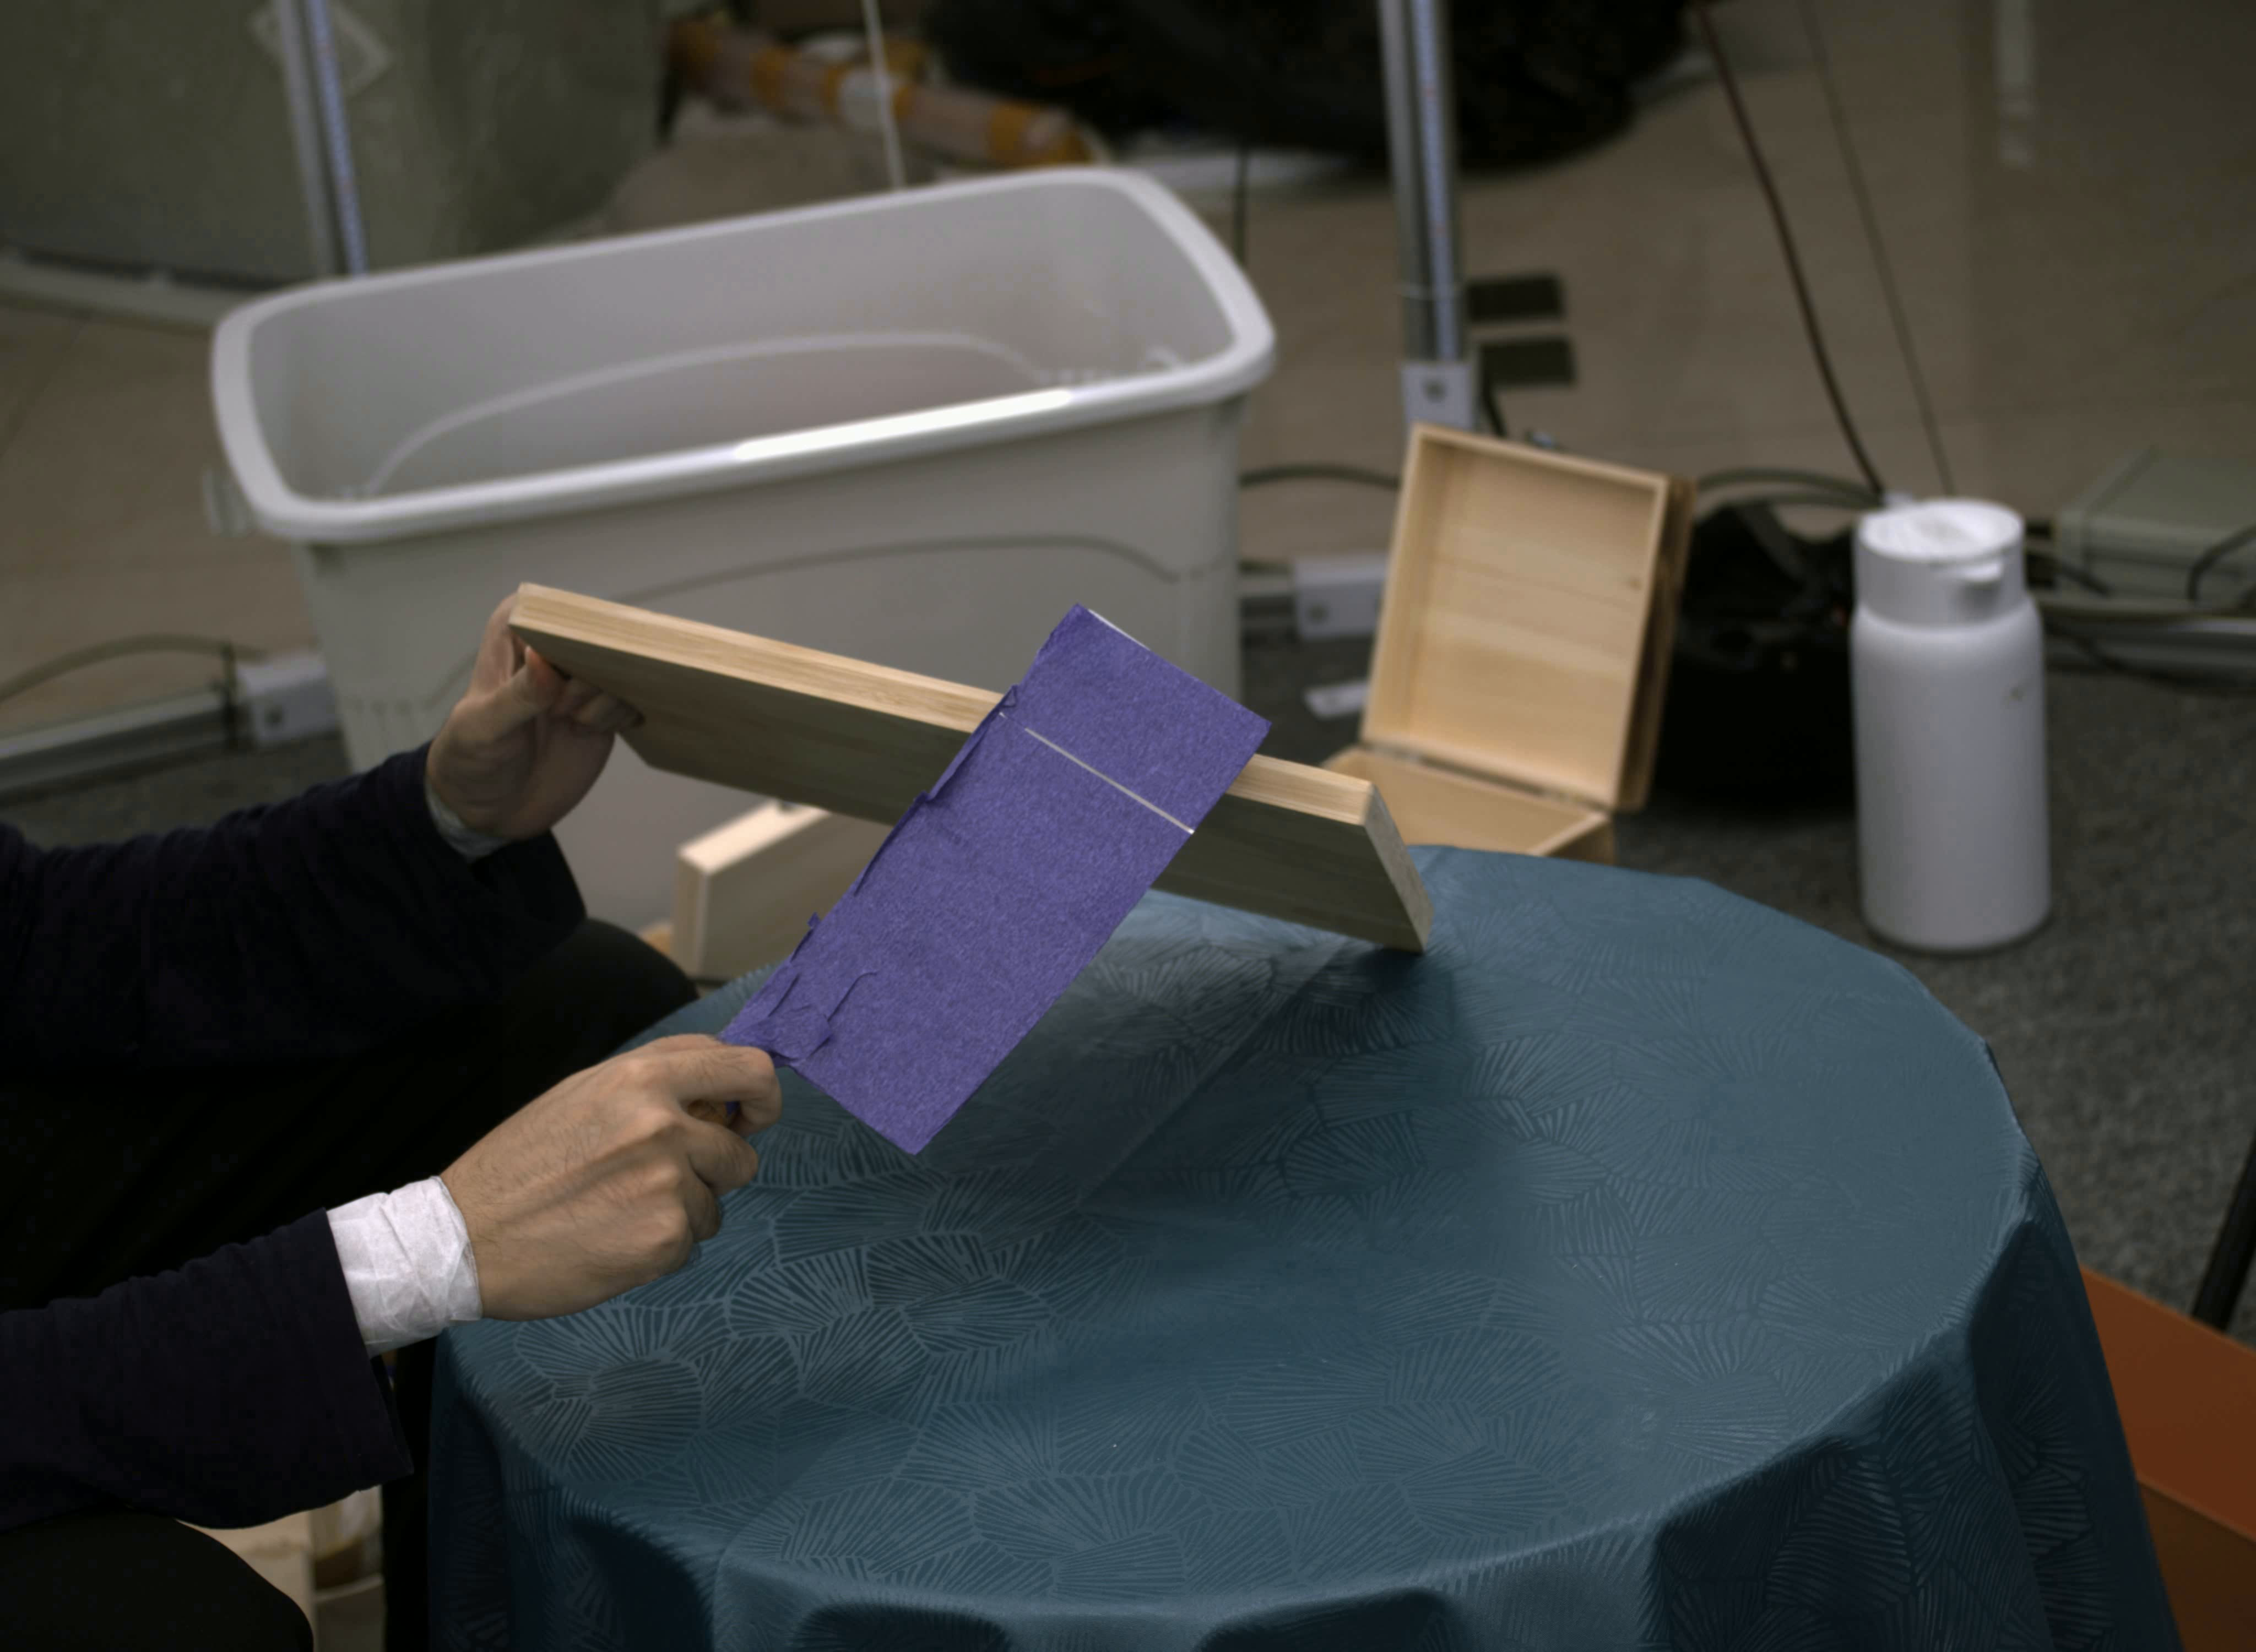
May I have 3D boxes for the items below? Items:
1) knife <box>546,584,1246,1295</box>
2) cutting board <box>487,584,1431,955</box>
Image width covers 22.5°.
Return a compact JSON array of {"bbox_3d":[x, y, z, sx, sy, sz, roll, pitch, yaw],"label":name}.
[{"bbox_3d":[-0.079,0.053,2.029,0.103,0.032,0.314,34,79,22],"label":"knife"},{"bbox_3d":[-0.060,-0.021,2.228,0.347,0.023,0.252,13,-10,10],"label":"cutting board"}]
